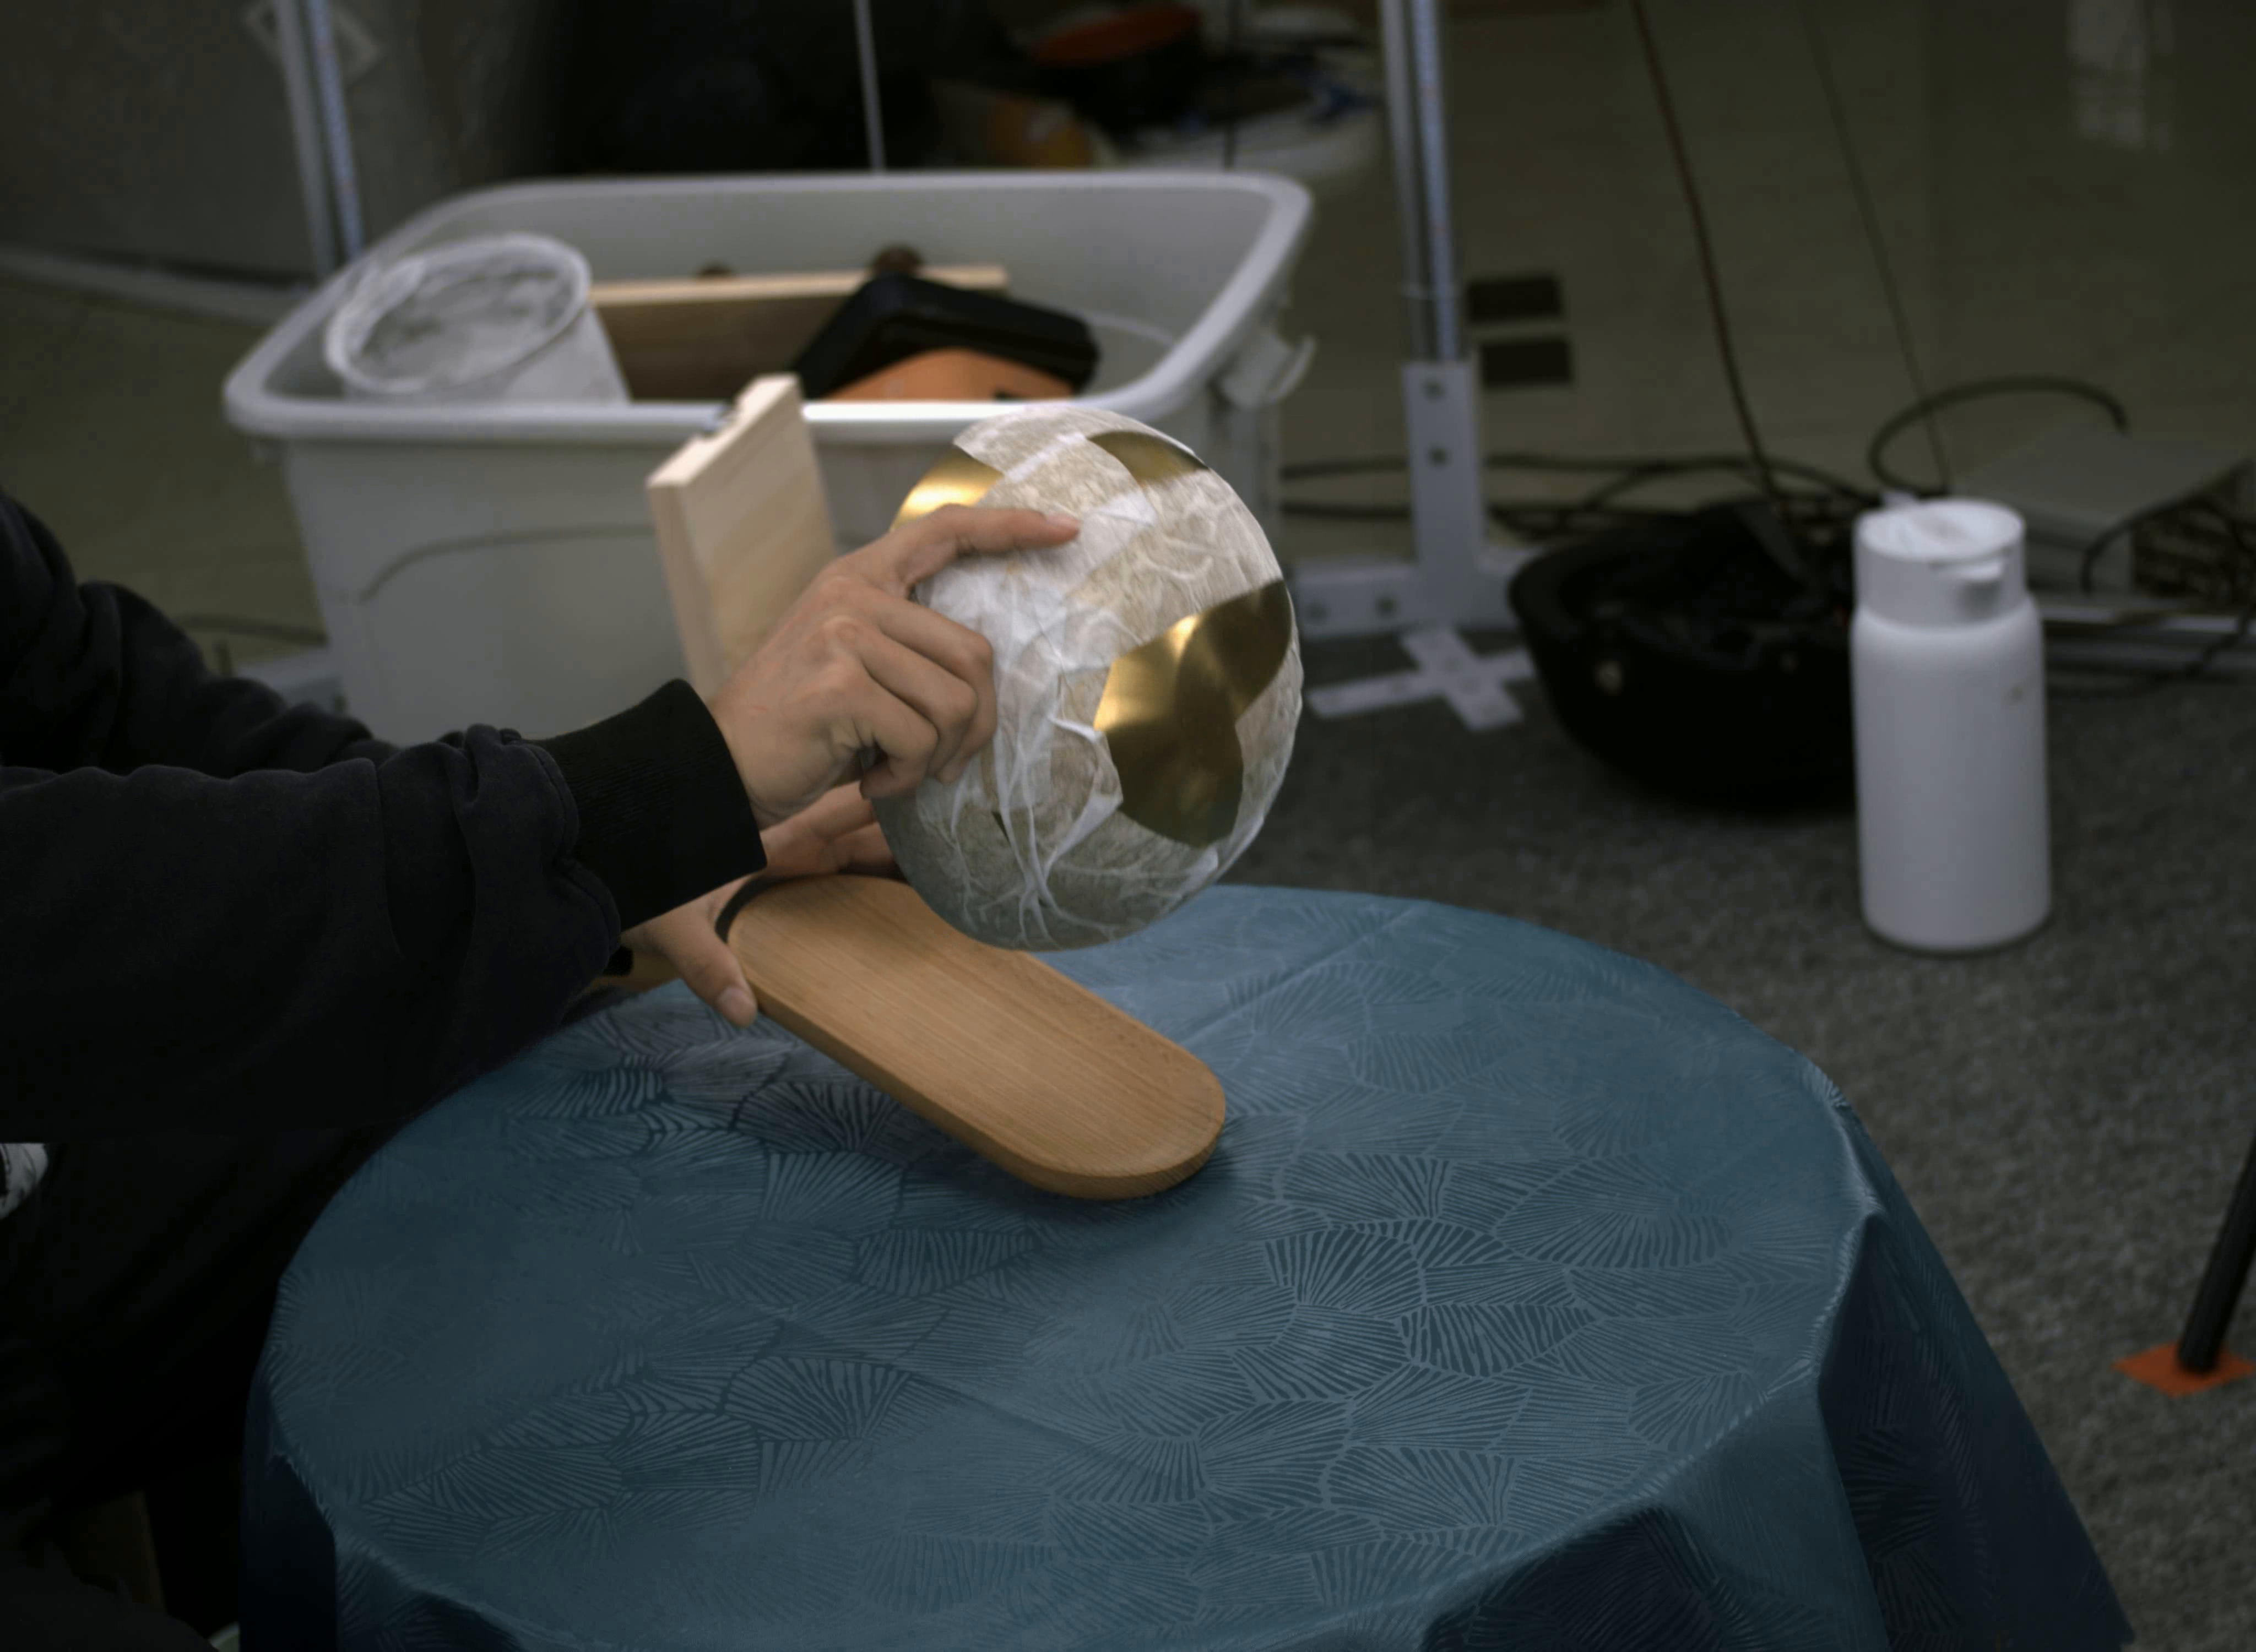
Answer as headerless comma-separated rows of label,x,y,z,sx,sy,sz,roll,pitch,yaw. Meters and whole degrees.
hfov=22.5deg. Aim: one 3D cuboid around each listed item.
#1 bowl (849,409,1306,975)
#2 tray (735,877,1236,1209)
bowl,0.001,-0.045,2.058,0.094,0.218,0.212,8,28,38
tray,-0.057,0.083,2.207,0.229,0.021,0.101,32,43,29
